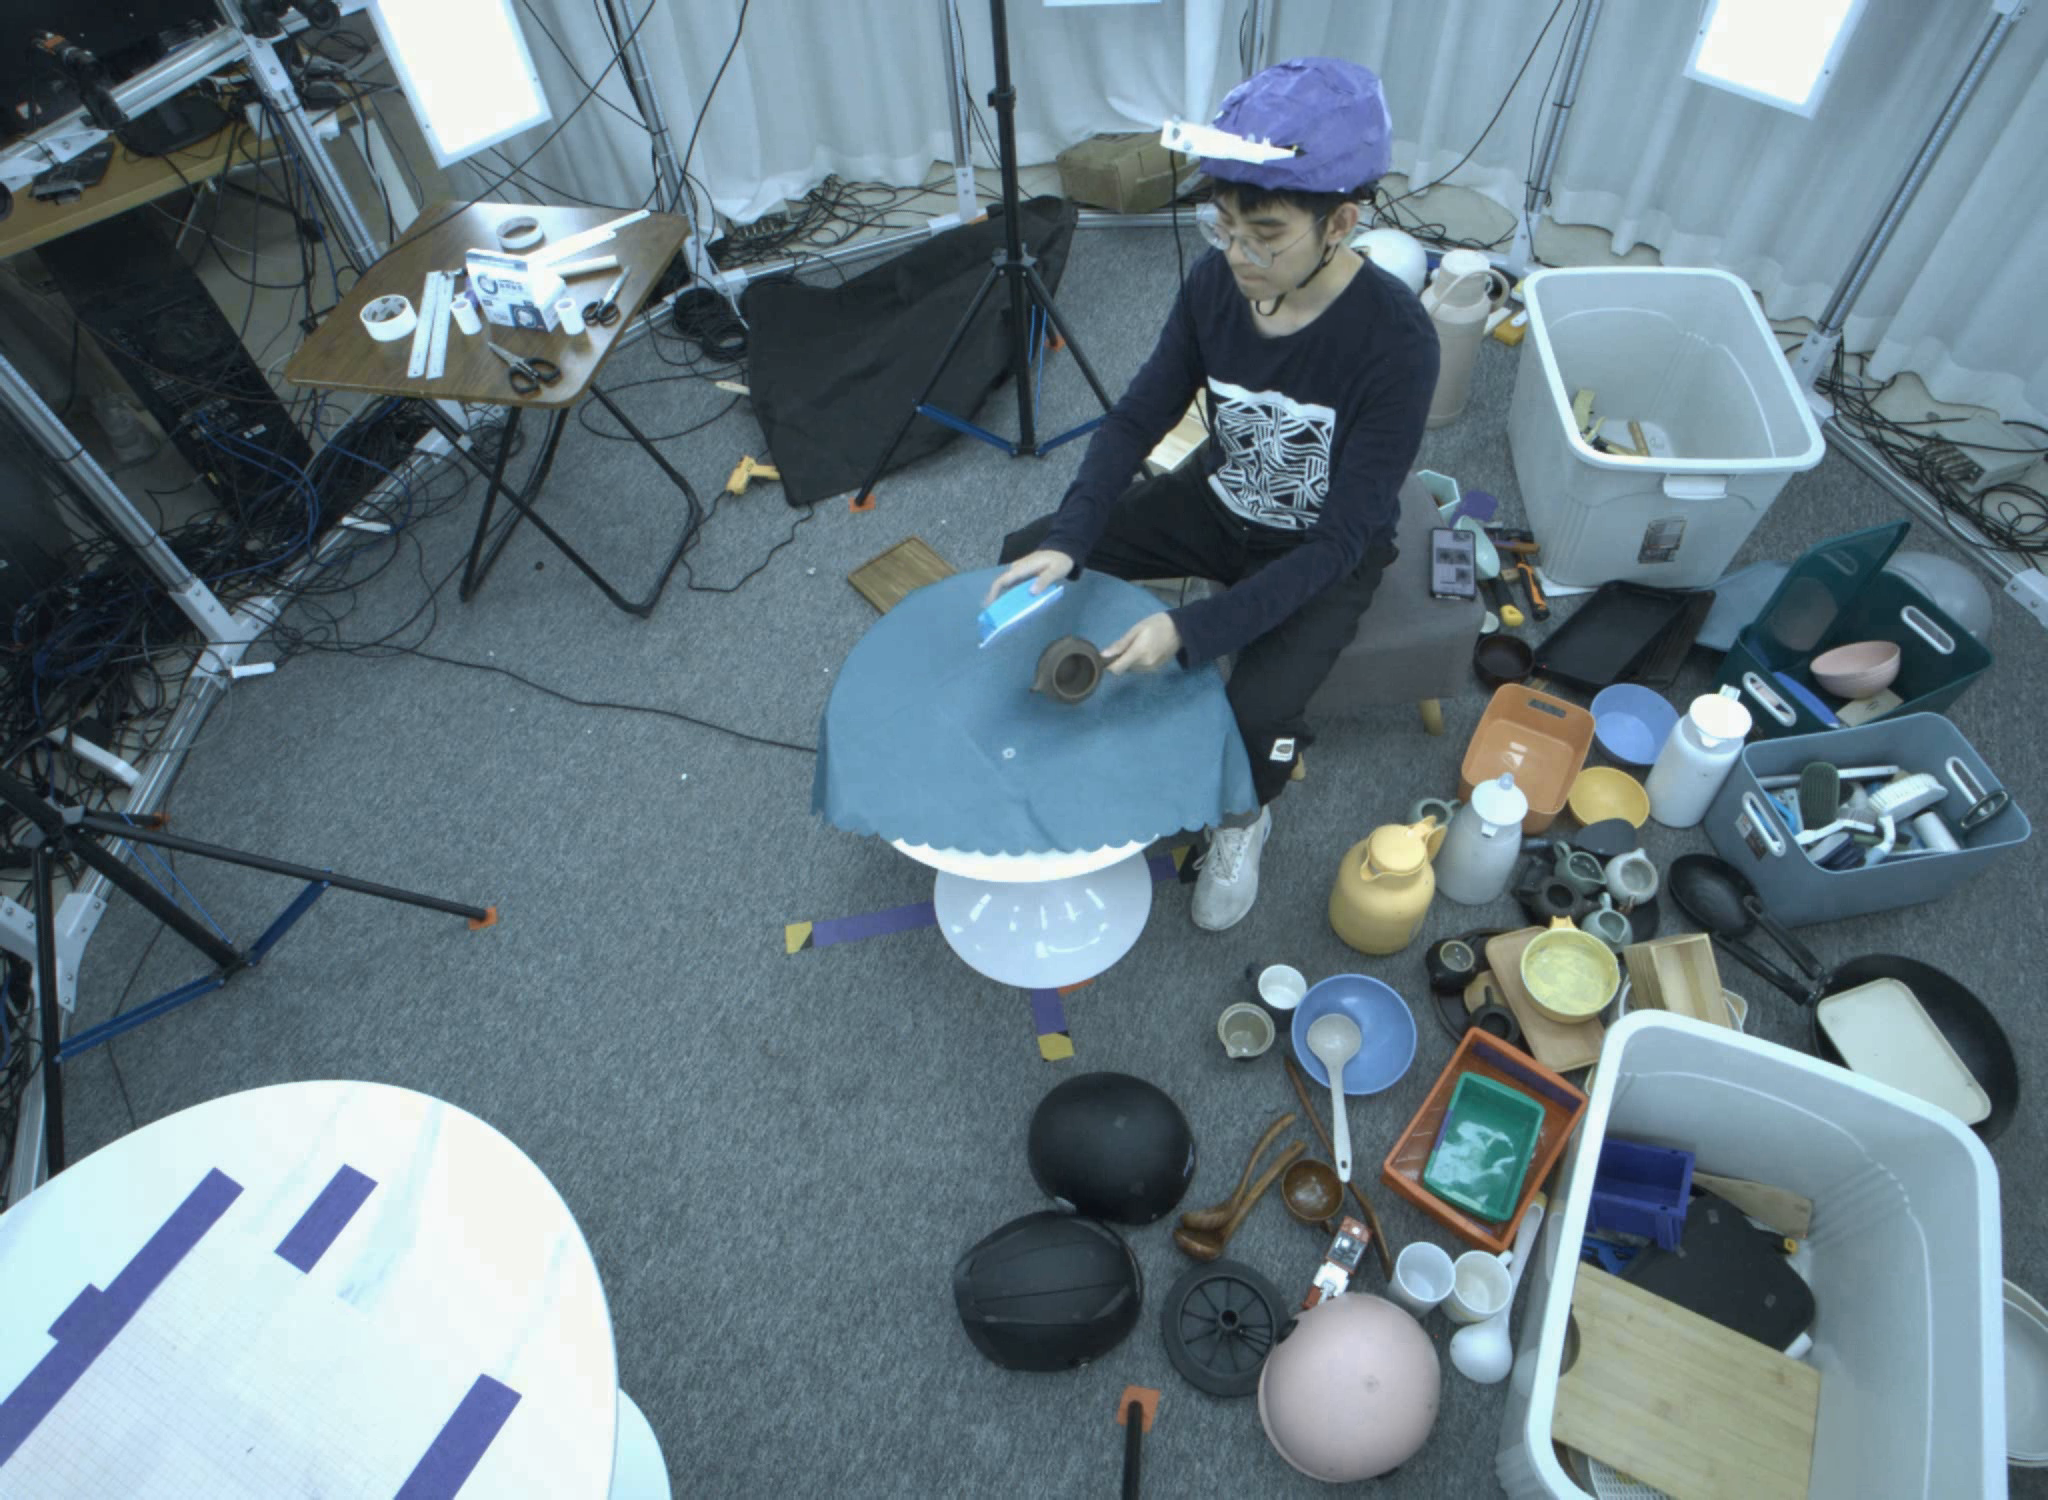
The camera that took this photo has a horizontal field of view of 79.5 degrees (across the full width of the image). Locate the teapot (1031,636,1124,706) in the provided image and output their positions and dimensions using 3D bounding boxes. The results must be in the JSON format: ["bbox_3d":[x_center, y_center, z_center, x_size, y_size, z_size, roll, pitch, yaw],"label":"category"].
[{"bbox_3d":[0.072,-0.114,1.768,0.154,0.104,0.053,-26,27,-12],"label":"teapot"}]

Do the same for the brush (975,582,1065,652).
[{"bbox_3d":[-0.012,-0.196,1.772,0.145,0.083,0.056,-36,97,-24],"label":"brush"}]
